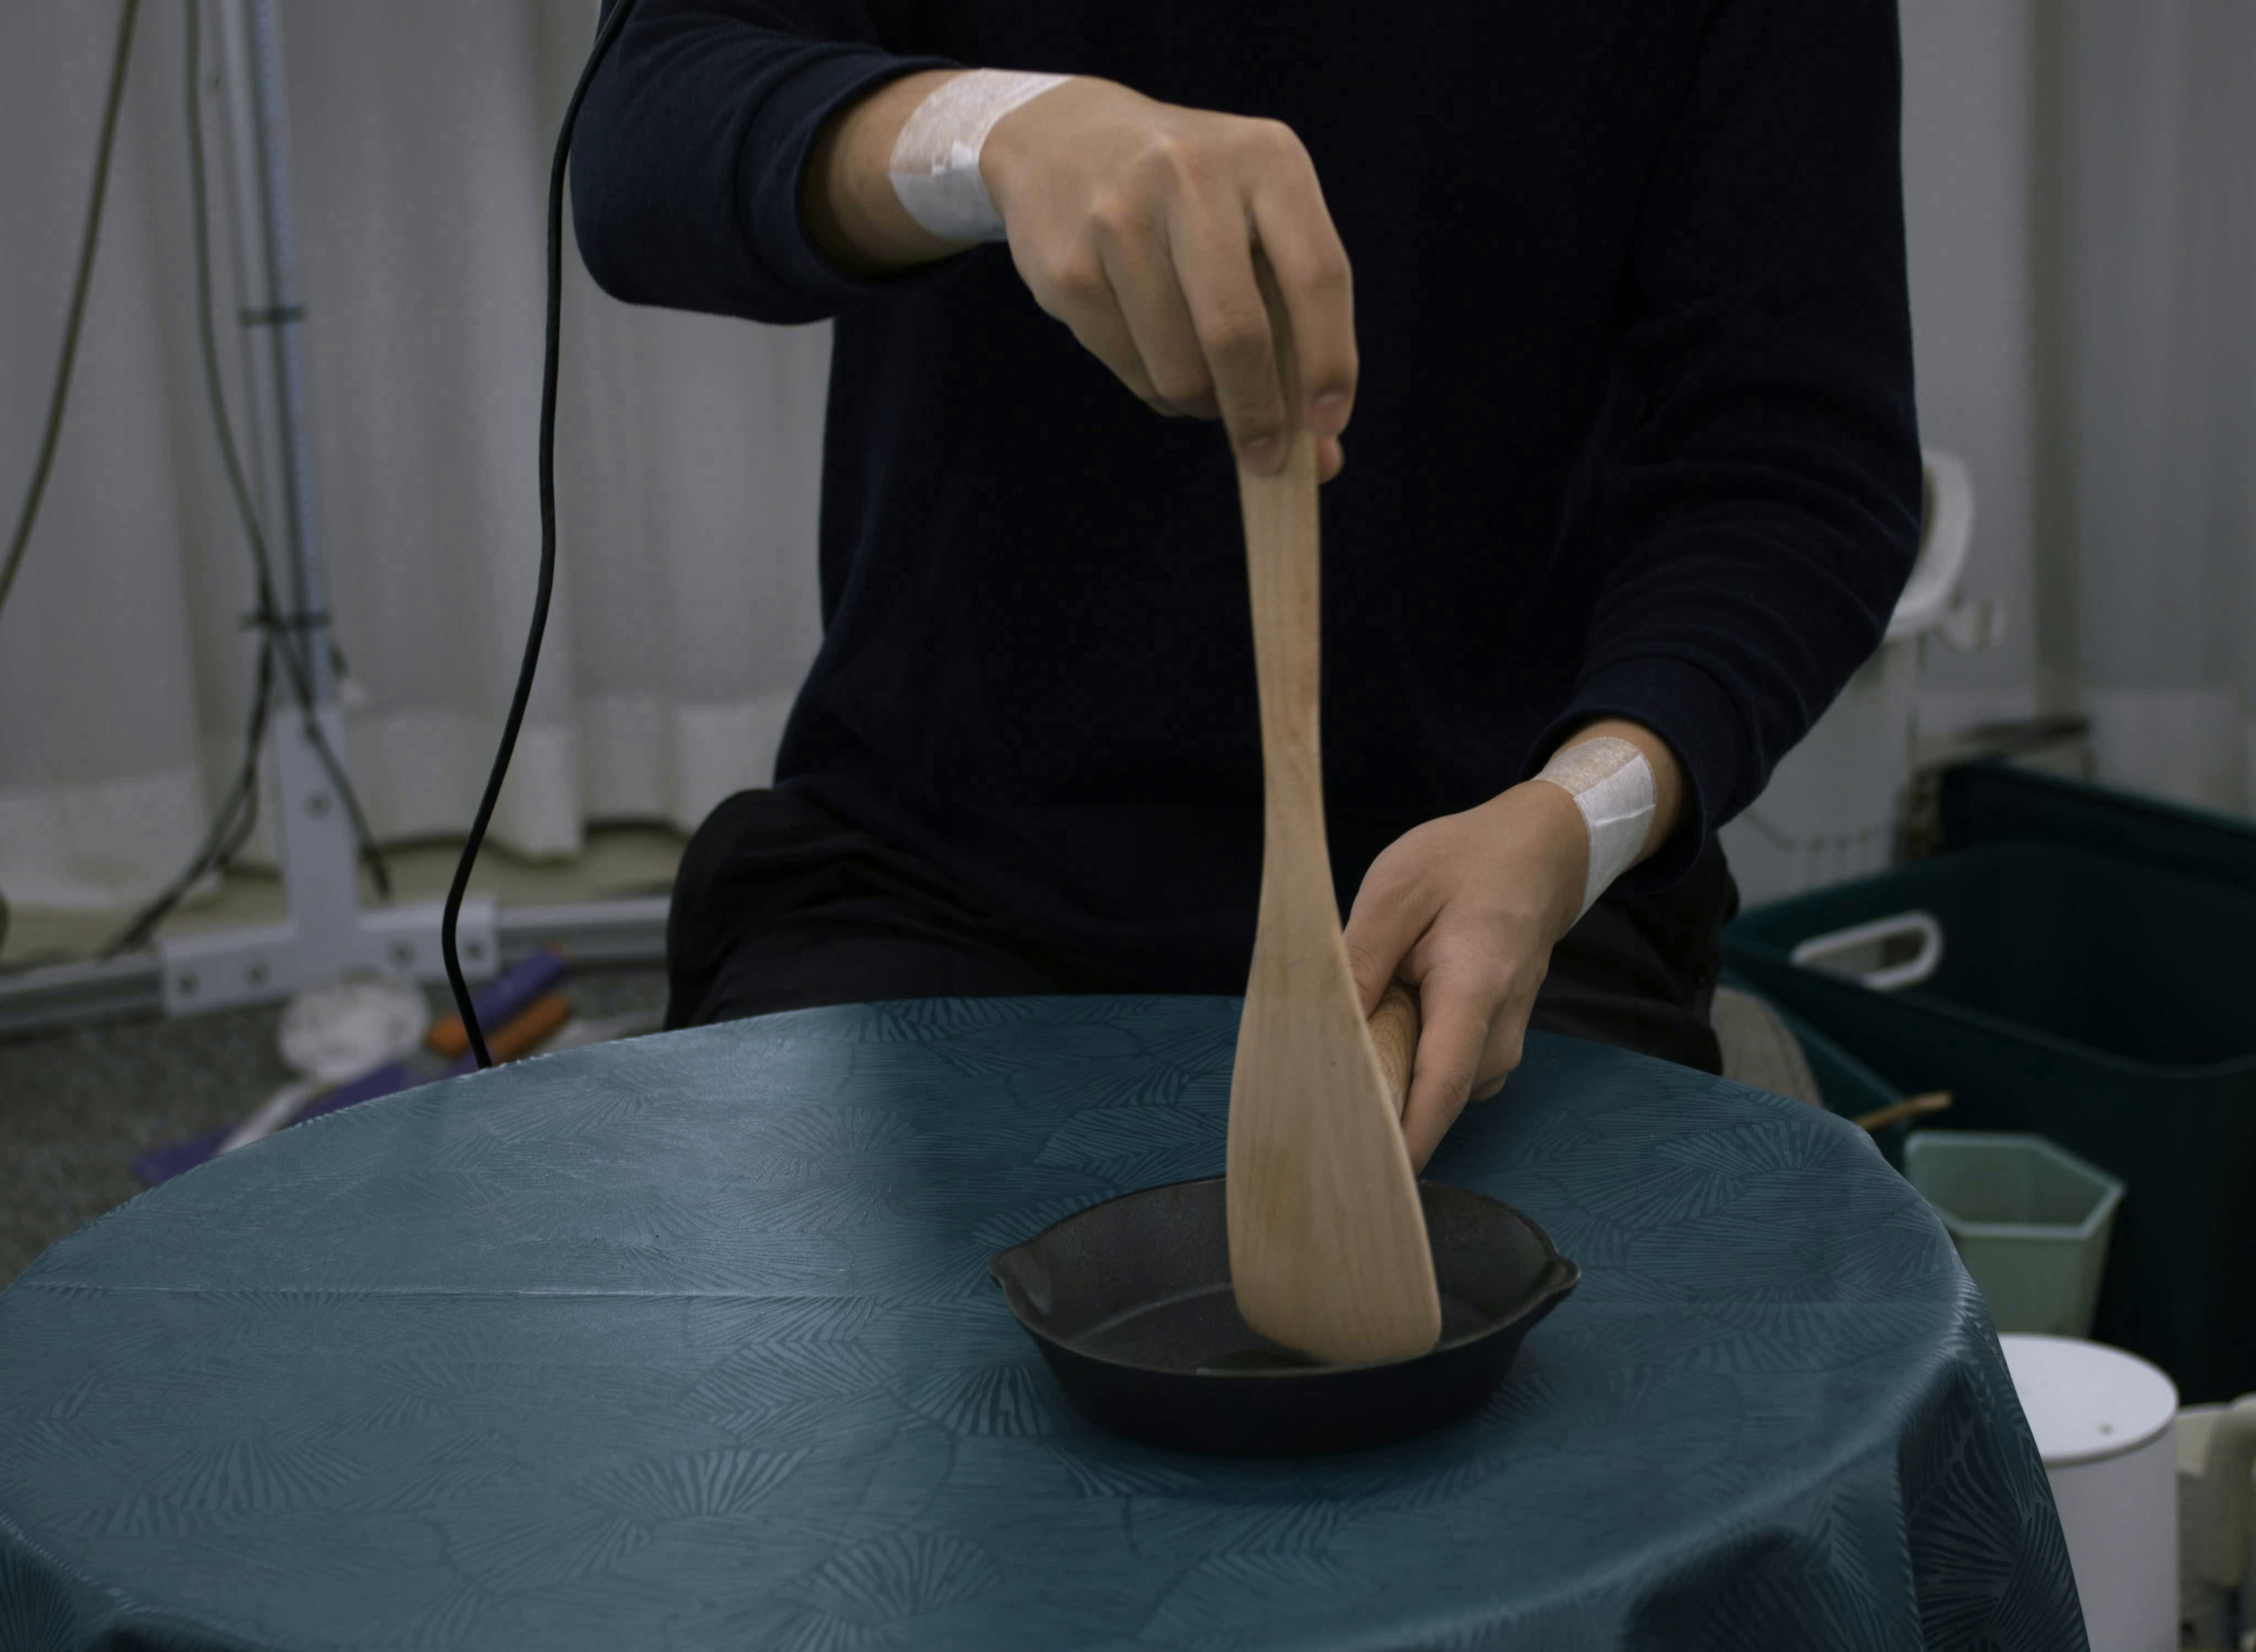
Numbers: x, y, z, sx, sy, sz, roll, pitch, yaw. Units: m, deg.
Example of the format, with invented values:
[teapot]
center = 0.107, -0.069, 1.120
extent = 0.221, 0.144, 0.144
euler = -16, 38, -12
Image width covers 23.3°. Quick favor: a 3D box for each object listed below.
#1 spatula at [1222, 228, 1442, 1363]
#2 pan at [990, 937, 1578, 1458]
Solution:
[spatula]
center = 0.048, -0.002, 1.523
extent = 0.016, 0.328, 0.080
euler = -7, 5, -44
[pan]
center = 0.062, 0.107, 1.621
extent = 0.169, 0.049, 0.326
euler = 1, 18, 13
